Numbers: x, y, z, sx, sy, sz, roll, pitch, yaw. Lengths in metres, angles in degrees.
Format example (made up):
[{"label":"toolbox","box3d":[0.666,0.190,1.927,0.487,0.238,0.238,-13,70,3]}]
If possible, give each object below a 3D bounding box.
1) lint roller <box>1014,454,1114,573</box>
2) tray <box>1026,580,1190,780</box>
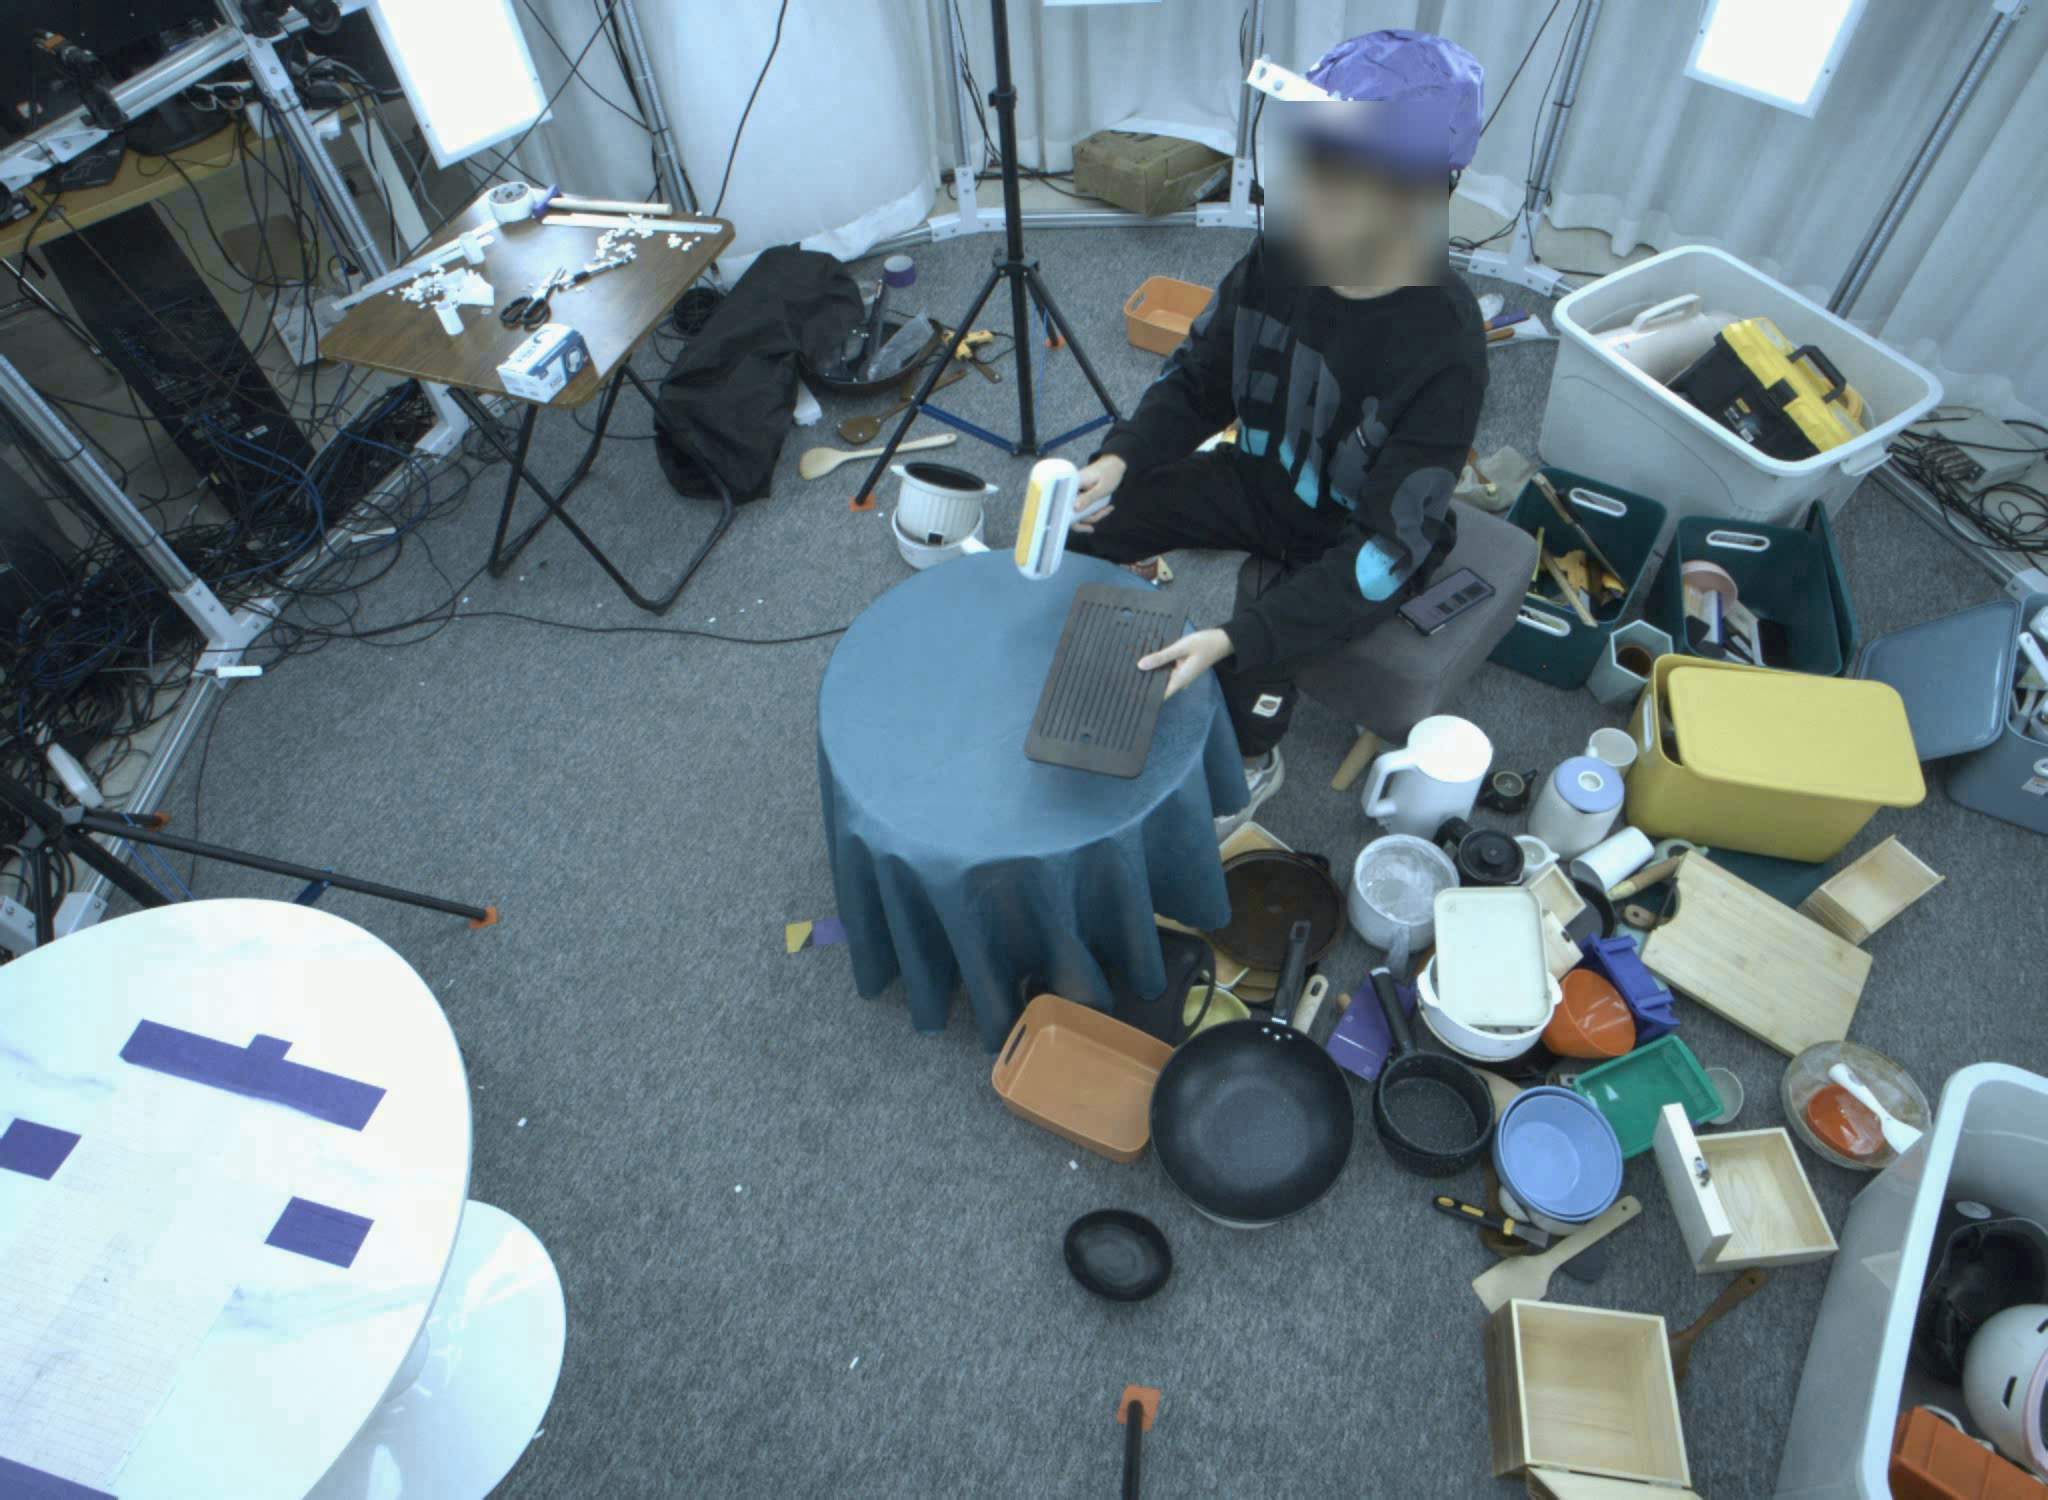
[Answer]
[{"label":"lint roller","box3d":[0.075,-0.368,1.860,0.196,0.193,0.072,-17,45,-38]},{"label":"tray","box3d":[0.122,-0.102,1.728,0.168,0.019,0.305,11,64,13]}]
